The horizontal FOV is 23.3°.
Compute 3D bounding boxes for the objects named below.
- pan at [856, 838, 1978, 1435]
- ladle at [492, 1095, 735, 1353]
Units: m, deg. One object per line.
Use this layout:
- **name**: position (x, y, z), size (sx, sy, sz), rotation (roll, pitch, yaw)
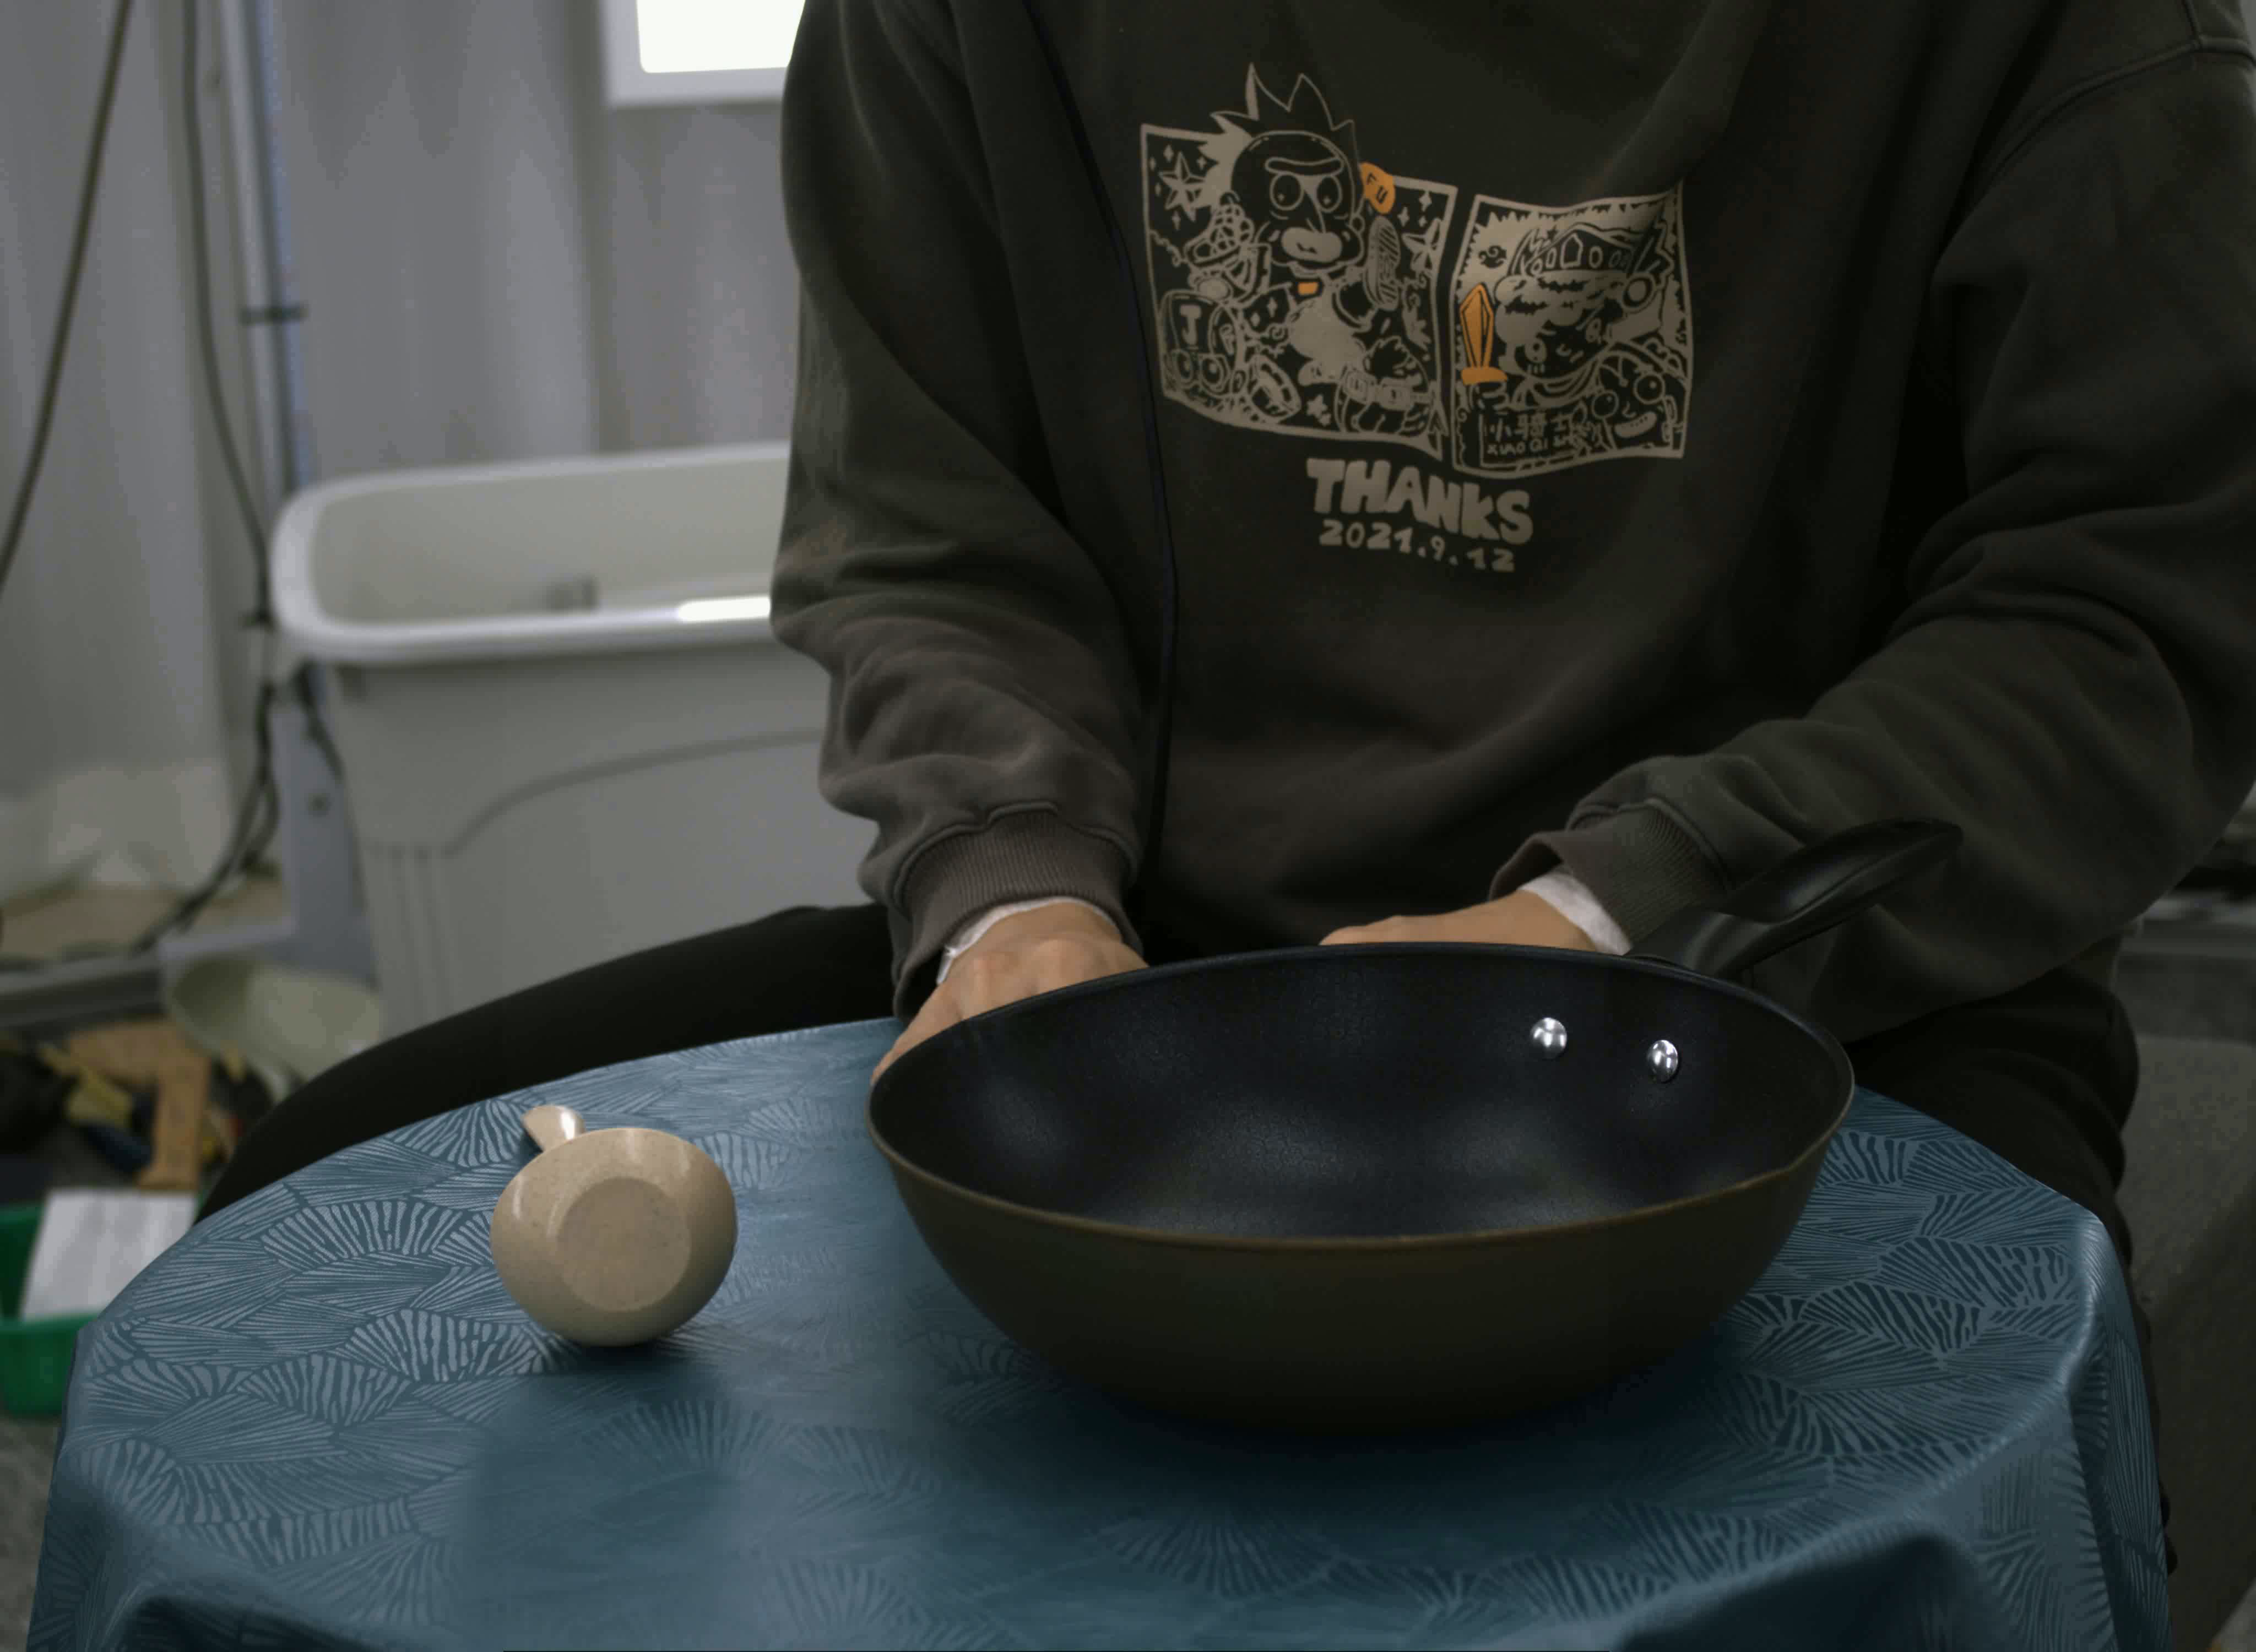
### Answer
- **pan**: position (0.121, 0.089, 1.635), size (0.289, 0.086, 0.463), rotation (9, 18, 38)
- **ladle**: position (-0.174, 0.093, 1.694), size (0.072, 0.072, 0.256), rotation (-8, 17, -12)
